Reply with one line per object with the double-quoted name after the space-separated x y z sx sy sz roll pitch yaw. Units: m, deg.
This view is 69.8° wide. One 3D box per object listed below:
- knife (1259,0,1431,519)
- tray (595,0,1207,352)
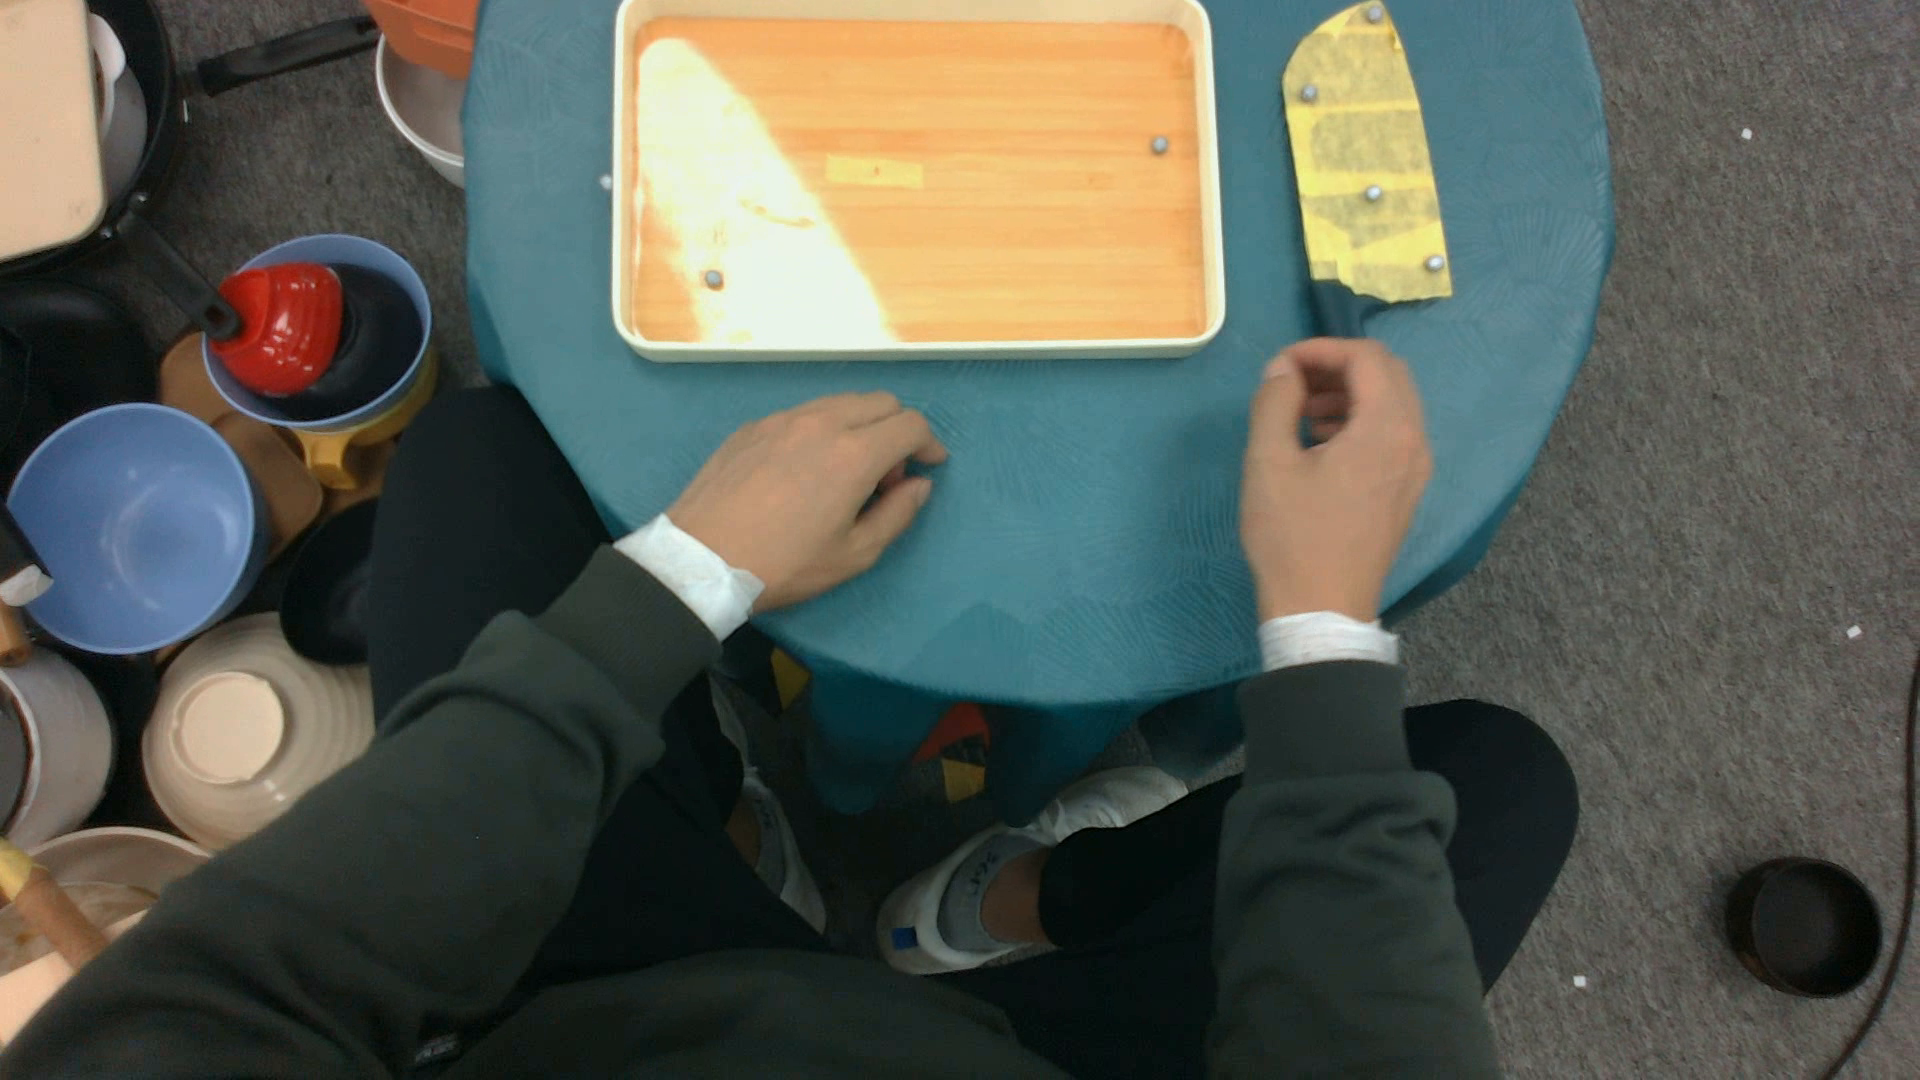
0.203 -0.153 0.713 0.081 0.027 0.290 -2 79 -3 "knife"
-0.029 -0.190 0.695 0.300 0.027 0.192 -1 81 -5 "tray"
